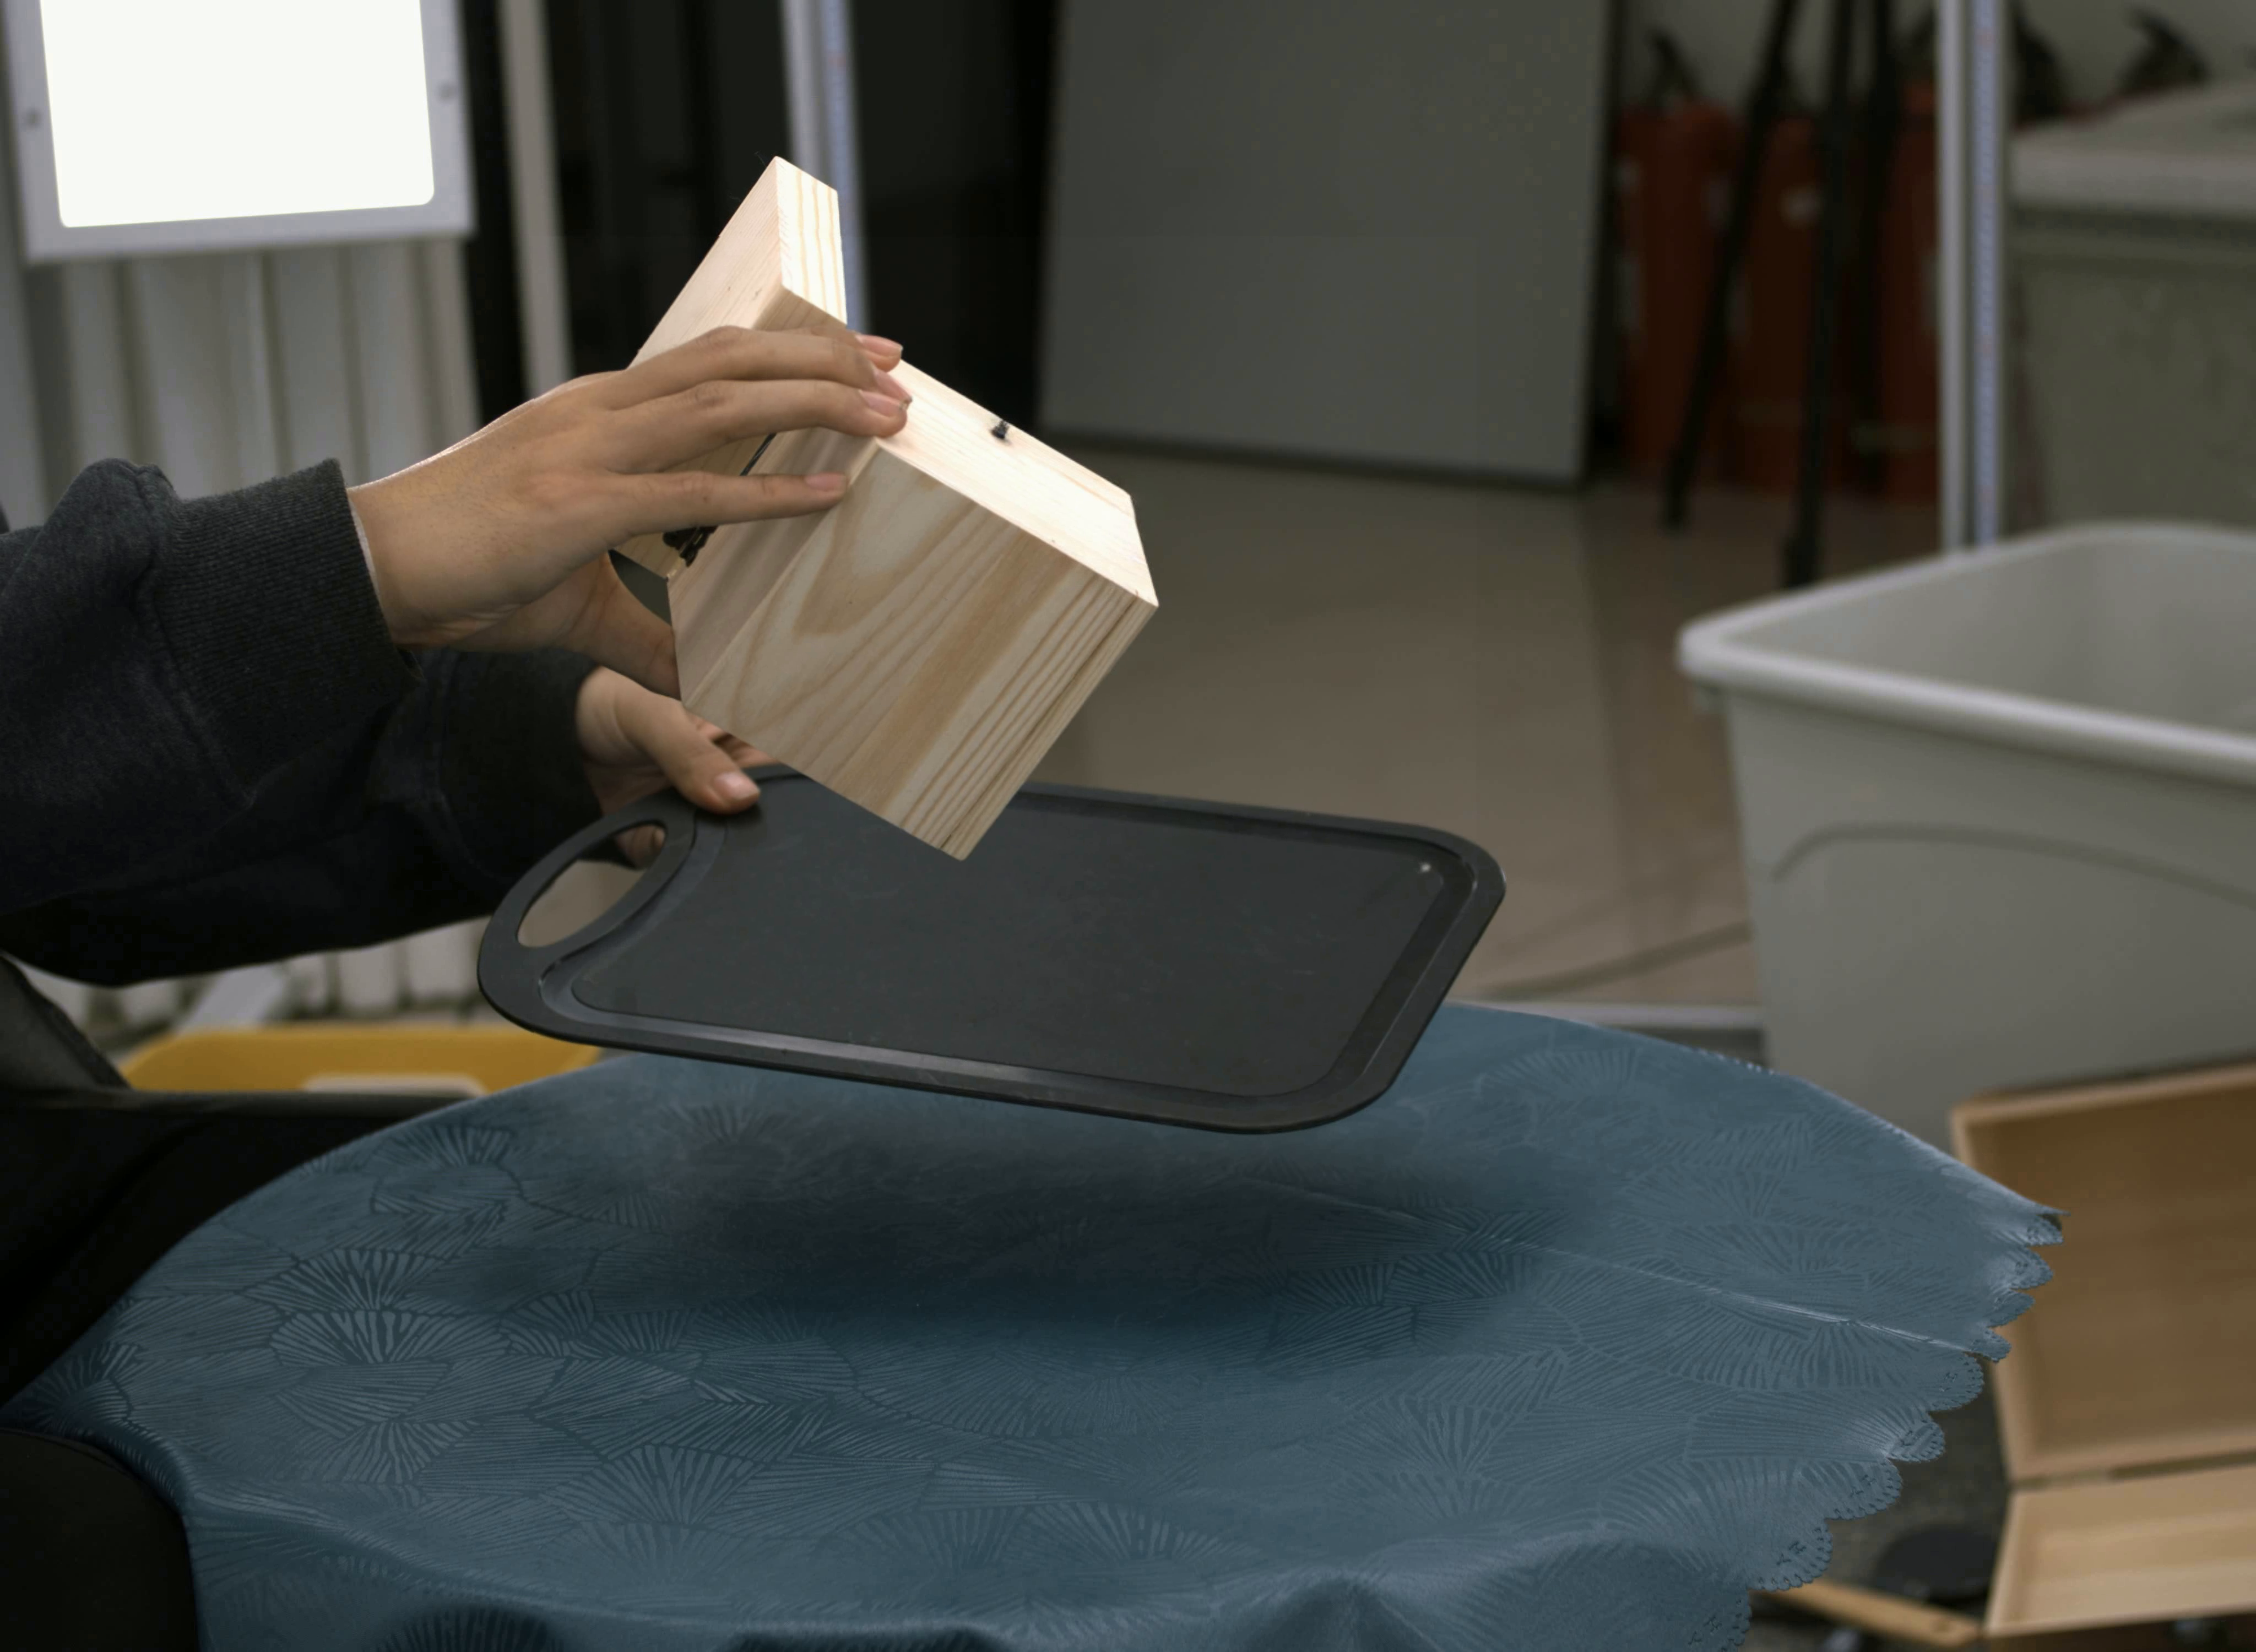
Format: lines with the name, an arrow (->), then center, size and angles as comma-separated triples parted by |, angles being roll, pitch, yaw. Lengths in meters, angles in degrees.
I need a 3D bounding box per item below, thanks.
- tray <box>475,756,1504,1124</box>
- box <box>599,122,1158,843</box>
tray -> -0.050, 0.032, 1.752 | 0.325, 0.010, 0.209 | 7, 28, 20
box -> -0.078, -0.105, 1.623 | 0.132, 0.103, 0.186 | 28, 23, -23
